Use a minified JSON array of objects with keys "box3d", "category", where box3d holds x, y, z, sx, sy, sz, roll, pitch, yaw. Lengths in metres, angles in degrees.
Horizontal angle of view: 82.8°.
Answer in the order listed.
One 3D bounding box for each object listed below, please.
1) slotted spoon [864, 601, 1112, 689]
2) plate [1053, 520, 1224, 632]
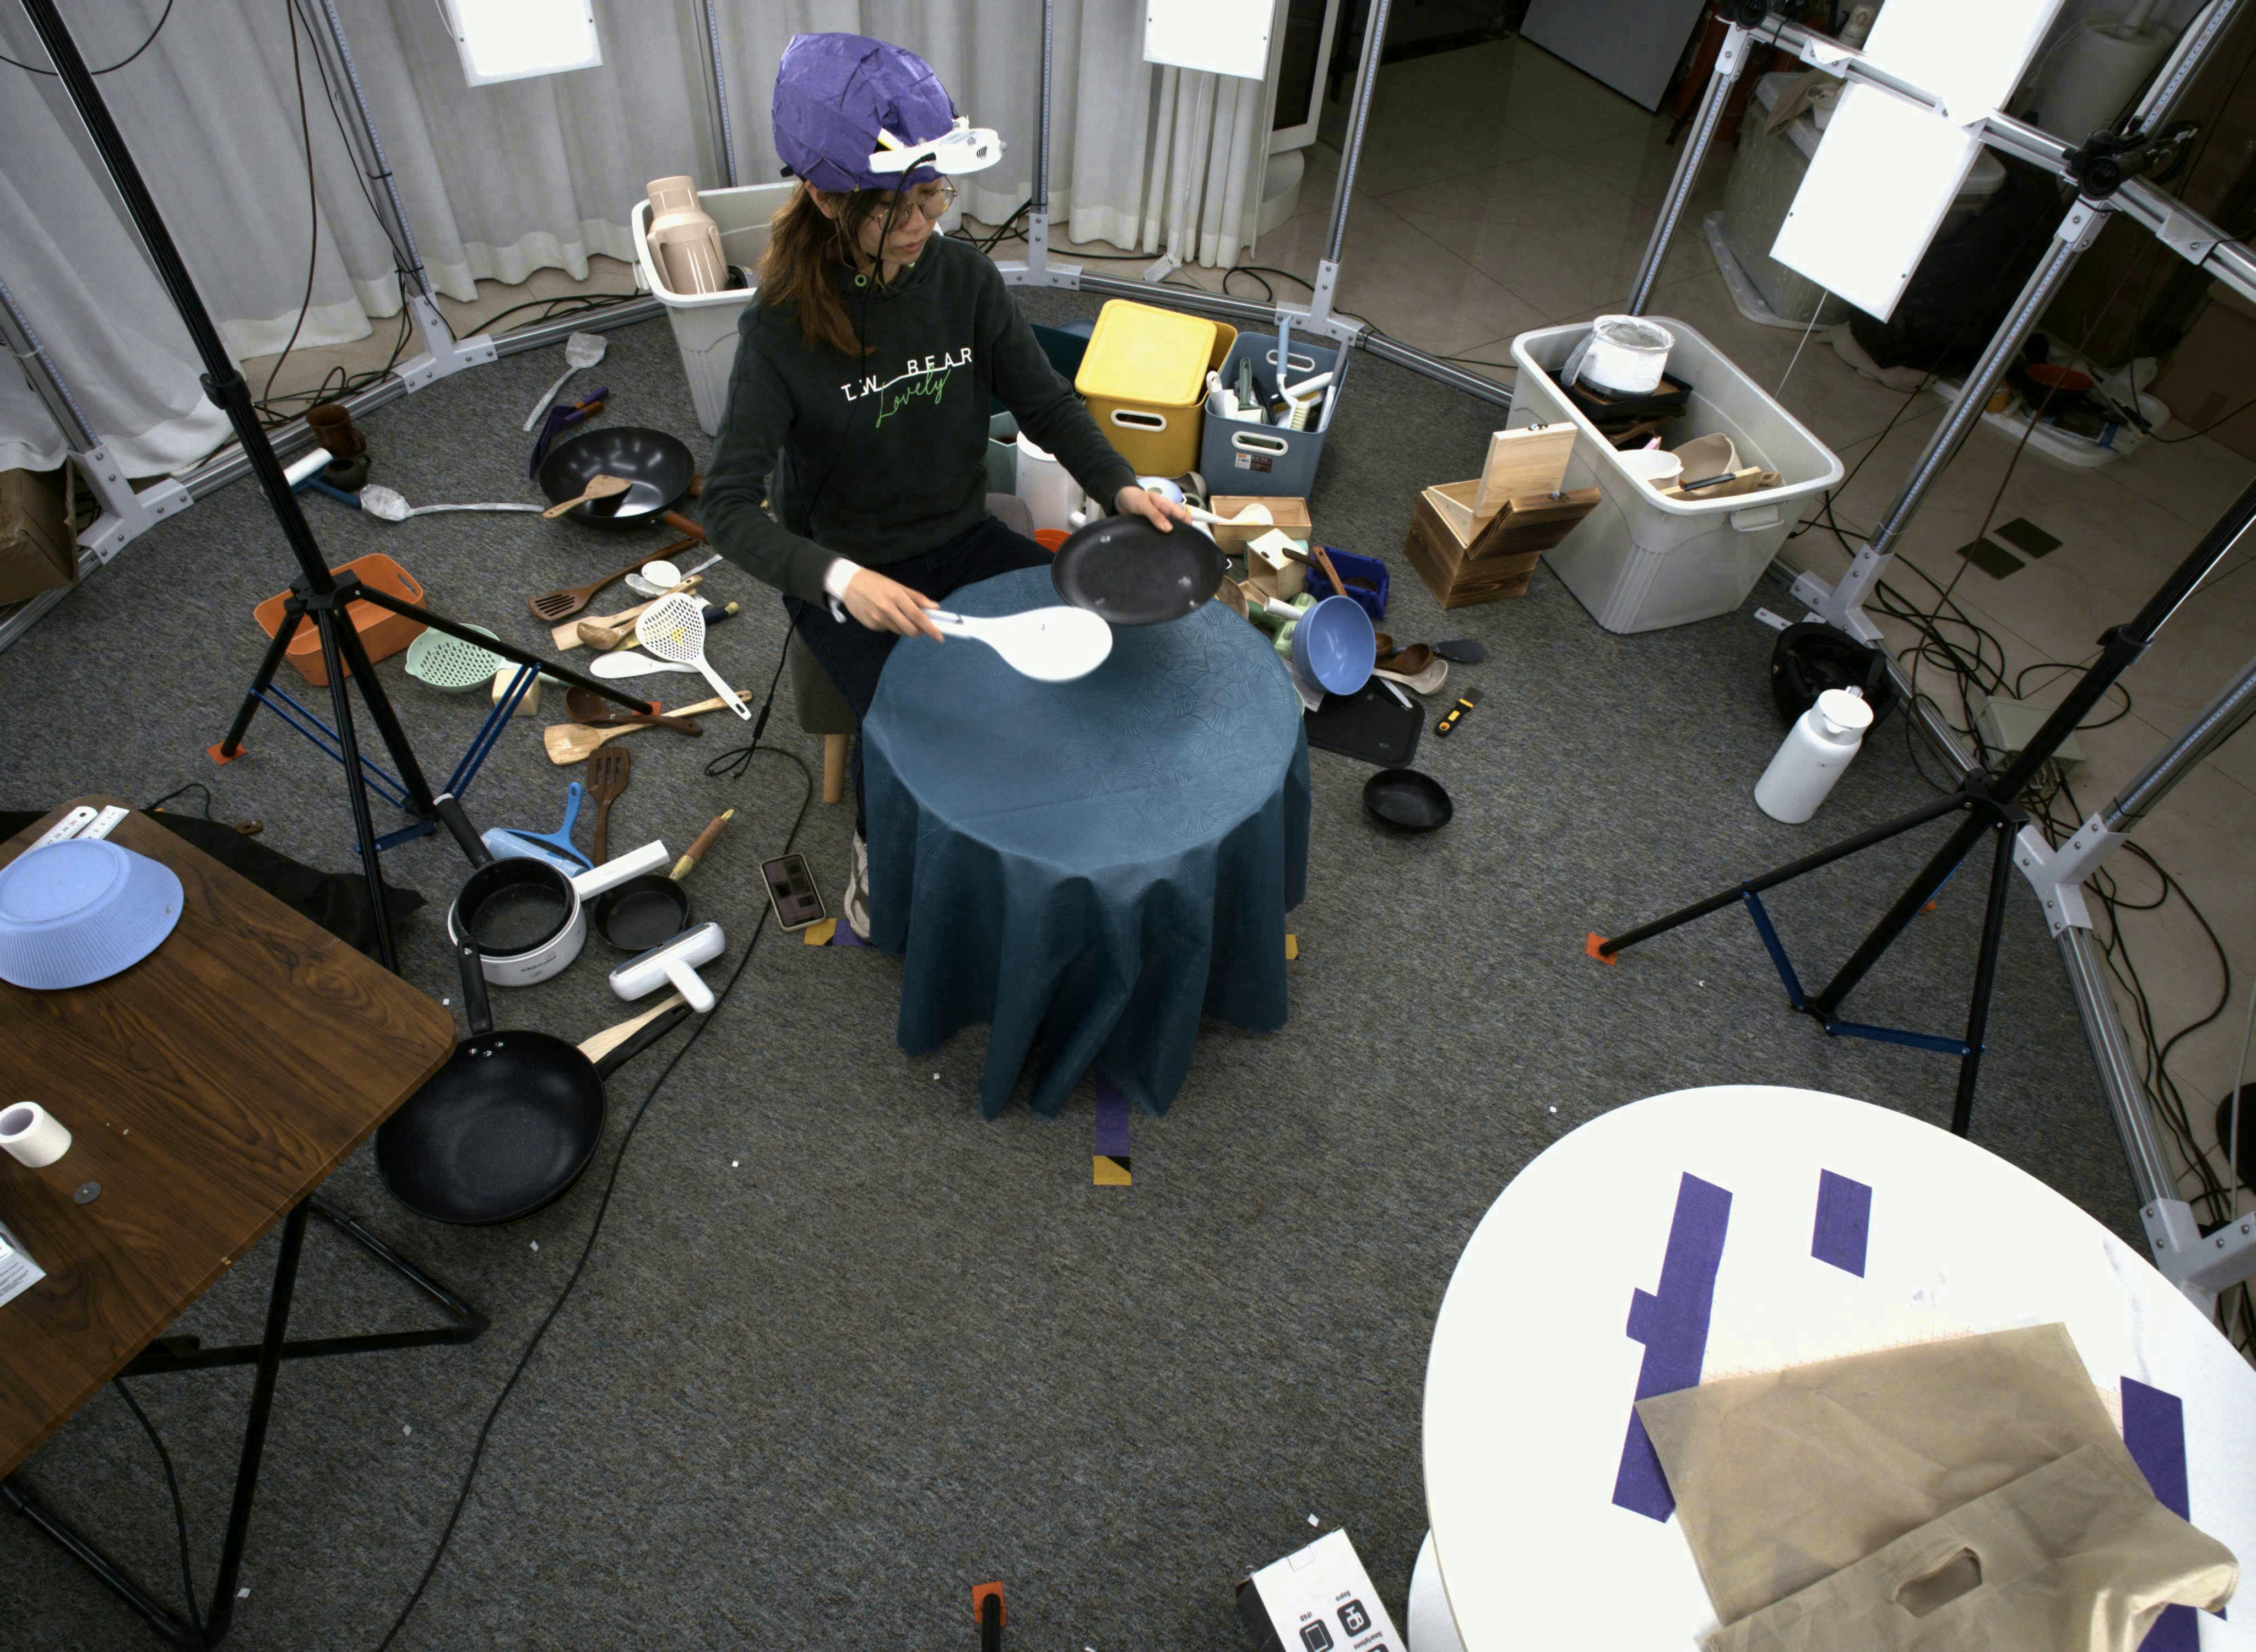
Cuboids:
[{"box3d":[-0.186,-0.245,1.669,0.352,0.044,0.138,18,49,15],"category":"slotted spoon"},{"box3d":[0.015,-0.352,1.828,0.244,0.023,0.250,-1,49,1],"category":"plate"}]
